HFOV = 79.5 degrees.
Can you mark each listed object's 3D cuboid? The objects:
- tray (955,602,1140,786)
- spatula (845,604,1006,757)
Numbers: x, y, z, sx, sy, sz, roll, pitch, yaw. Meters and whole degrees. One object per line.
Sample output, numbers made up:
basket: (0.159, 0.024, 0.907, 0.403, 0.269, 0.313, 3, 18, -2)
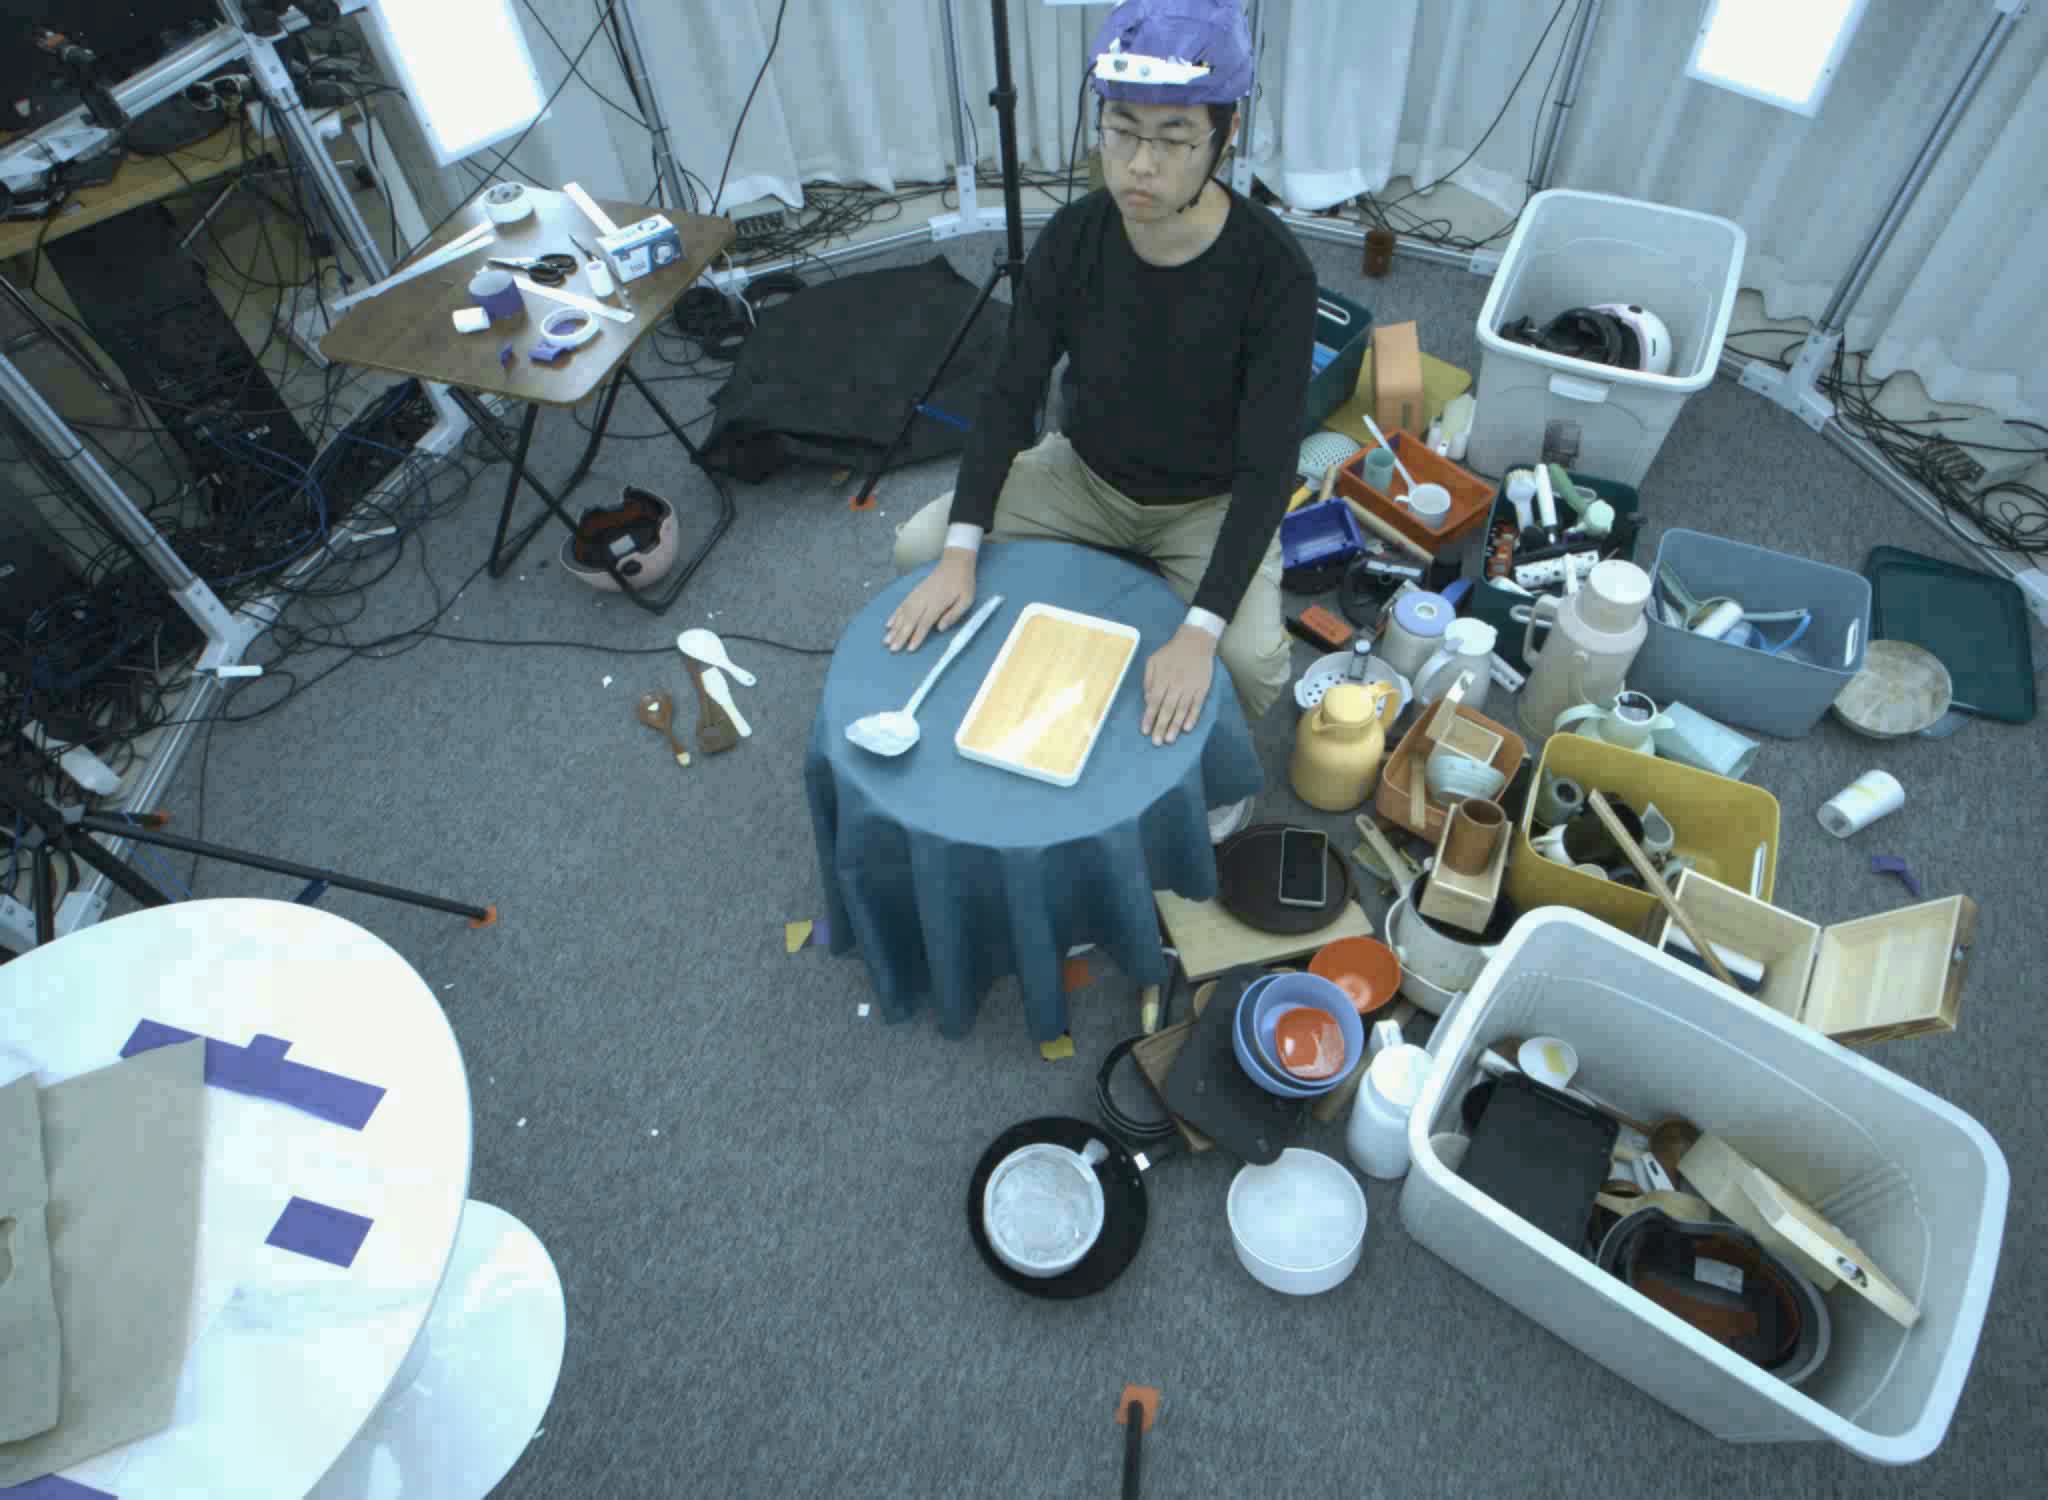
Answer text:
tray: (0.039, -0.089, 1.833, 0.189, 0.028, 0.300, 18, 57, 14)
spatula: (-0.133, -0.119, 1.853, 0.097, 0.045, 0.366, 24, 59, 19)
